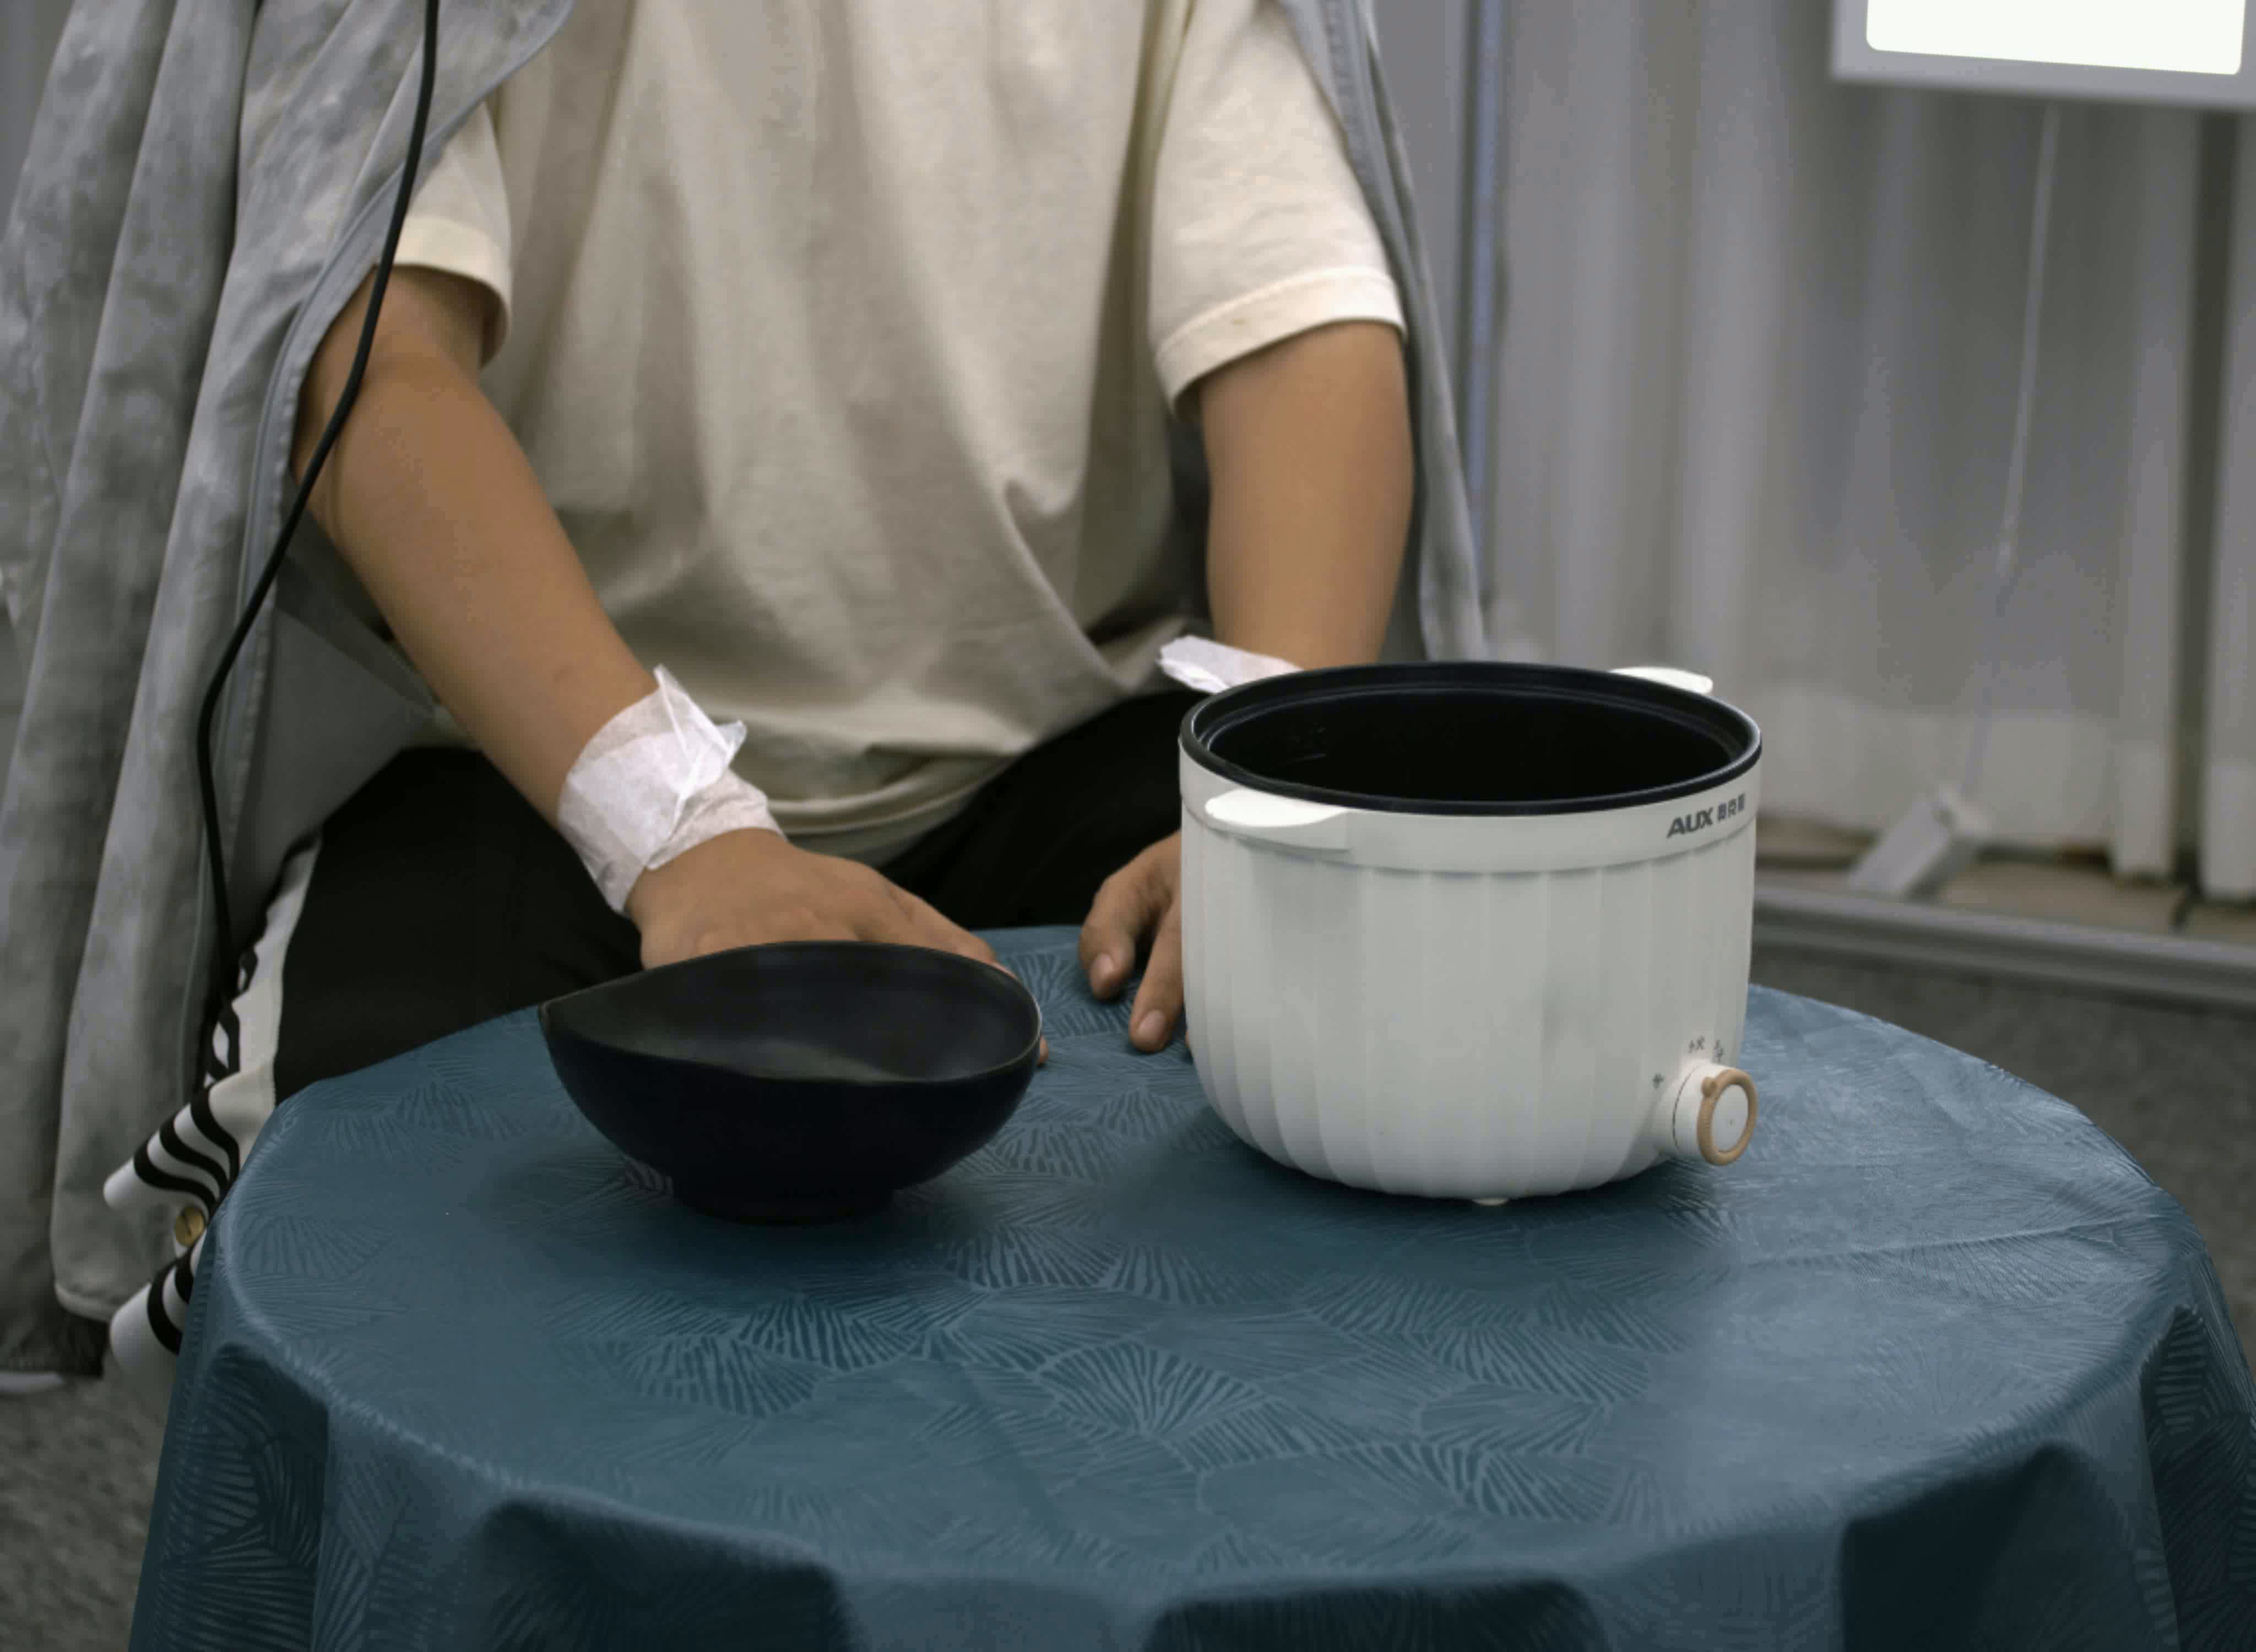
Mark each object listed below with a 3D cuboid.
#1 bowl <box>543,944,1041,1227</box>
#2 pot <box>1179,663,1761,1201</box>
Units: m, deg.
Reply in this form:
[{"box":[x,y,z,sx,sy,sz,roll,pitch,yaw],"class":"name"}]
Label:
[{"box":[-0.105,0.082,1.610,0.168,0.067,0.138,11,17,36],"class":"bowl"},{"box":[0.111,0.034,1.653,0.188,0.144,0.241,8,18,37],"class":"pot"}]
